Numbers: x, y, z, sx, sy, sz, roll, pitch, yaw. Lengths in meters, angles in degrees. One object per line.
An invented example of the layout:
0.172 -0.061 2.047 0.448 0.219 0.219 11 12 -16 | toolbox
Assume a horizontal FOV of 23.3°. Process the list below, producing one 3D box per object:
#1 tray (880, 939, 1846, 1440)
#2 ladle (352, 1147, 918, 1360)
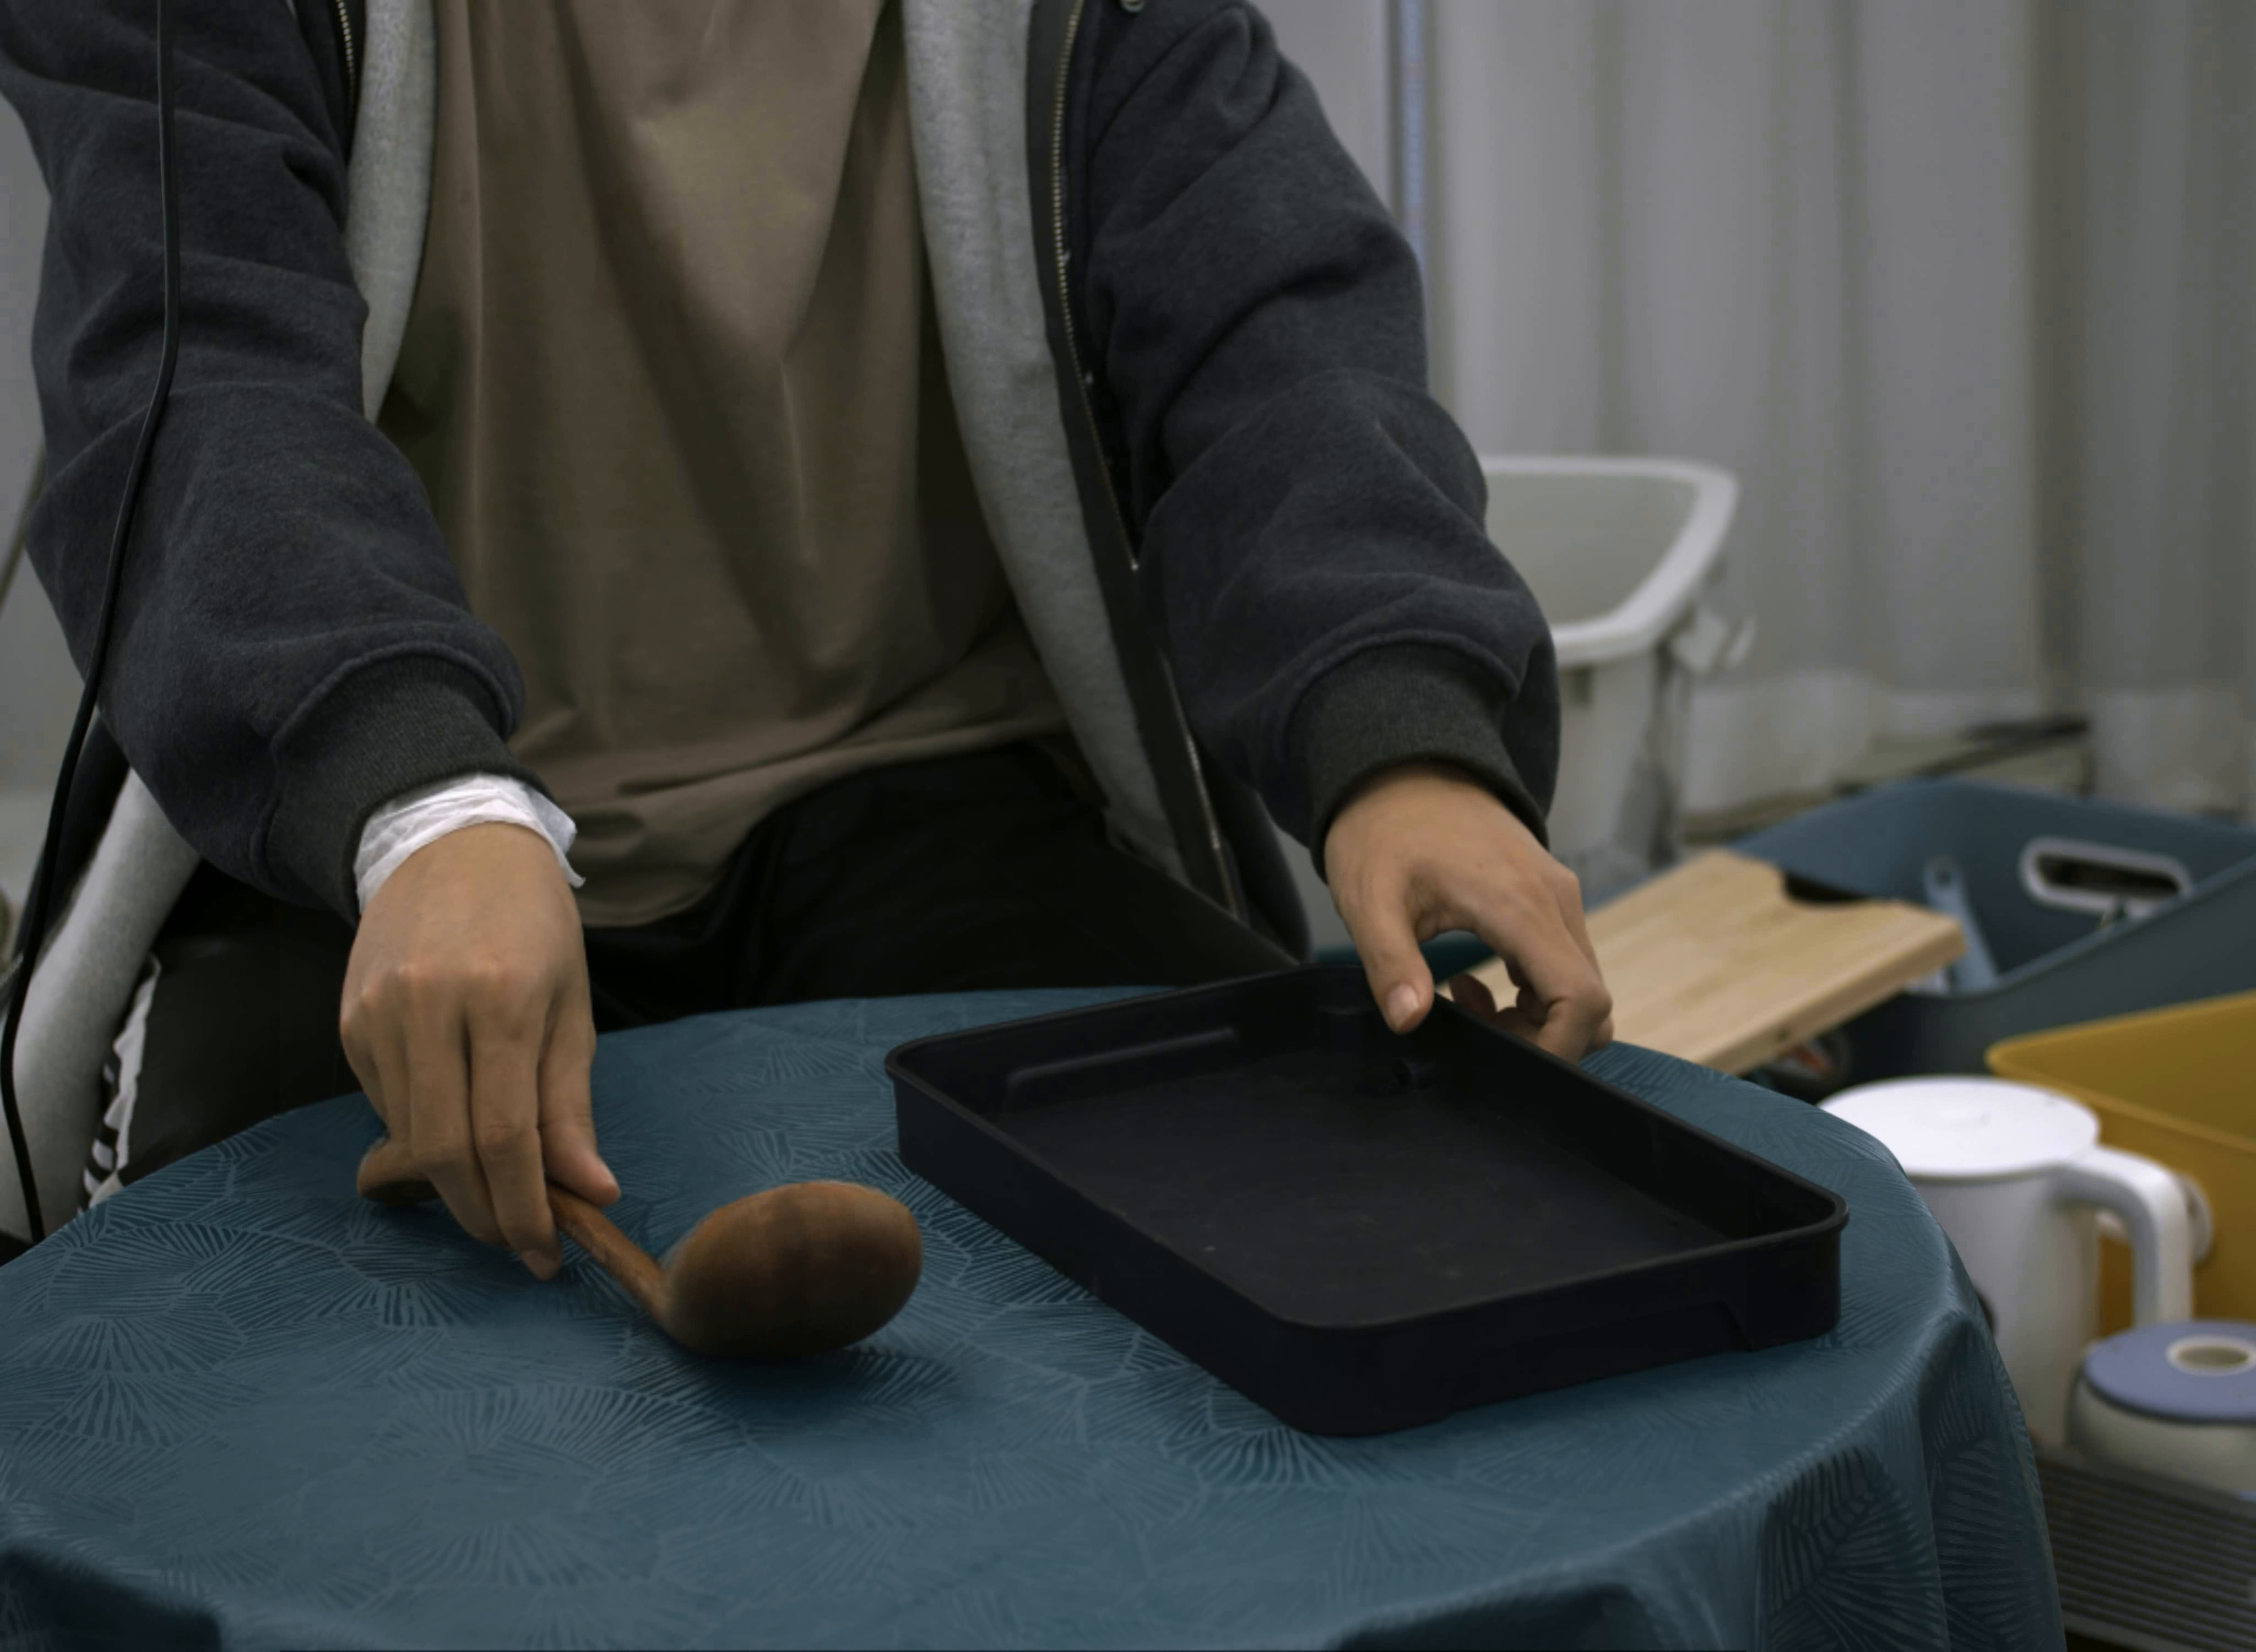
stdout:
0.064 0.104 1.663 0.183 0.037 0.320 -10 18 -23 | tray
-0.156 0.111 1.640 0.076 0.065 0.262 20 -2 -38 | ladle
